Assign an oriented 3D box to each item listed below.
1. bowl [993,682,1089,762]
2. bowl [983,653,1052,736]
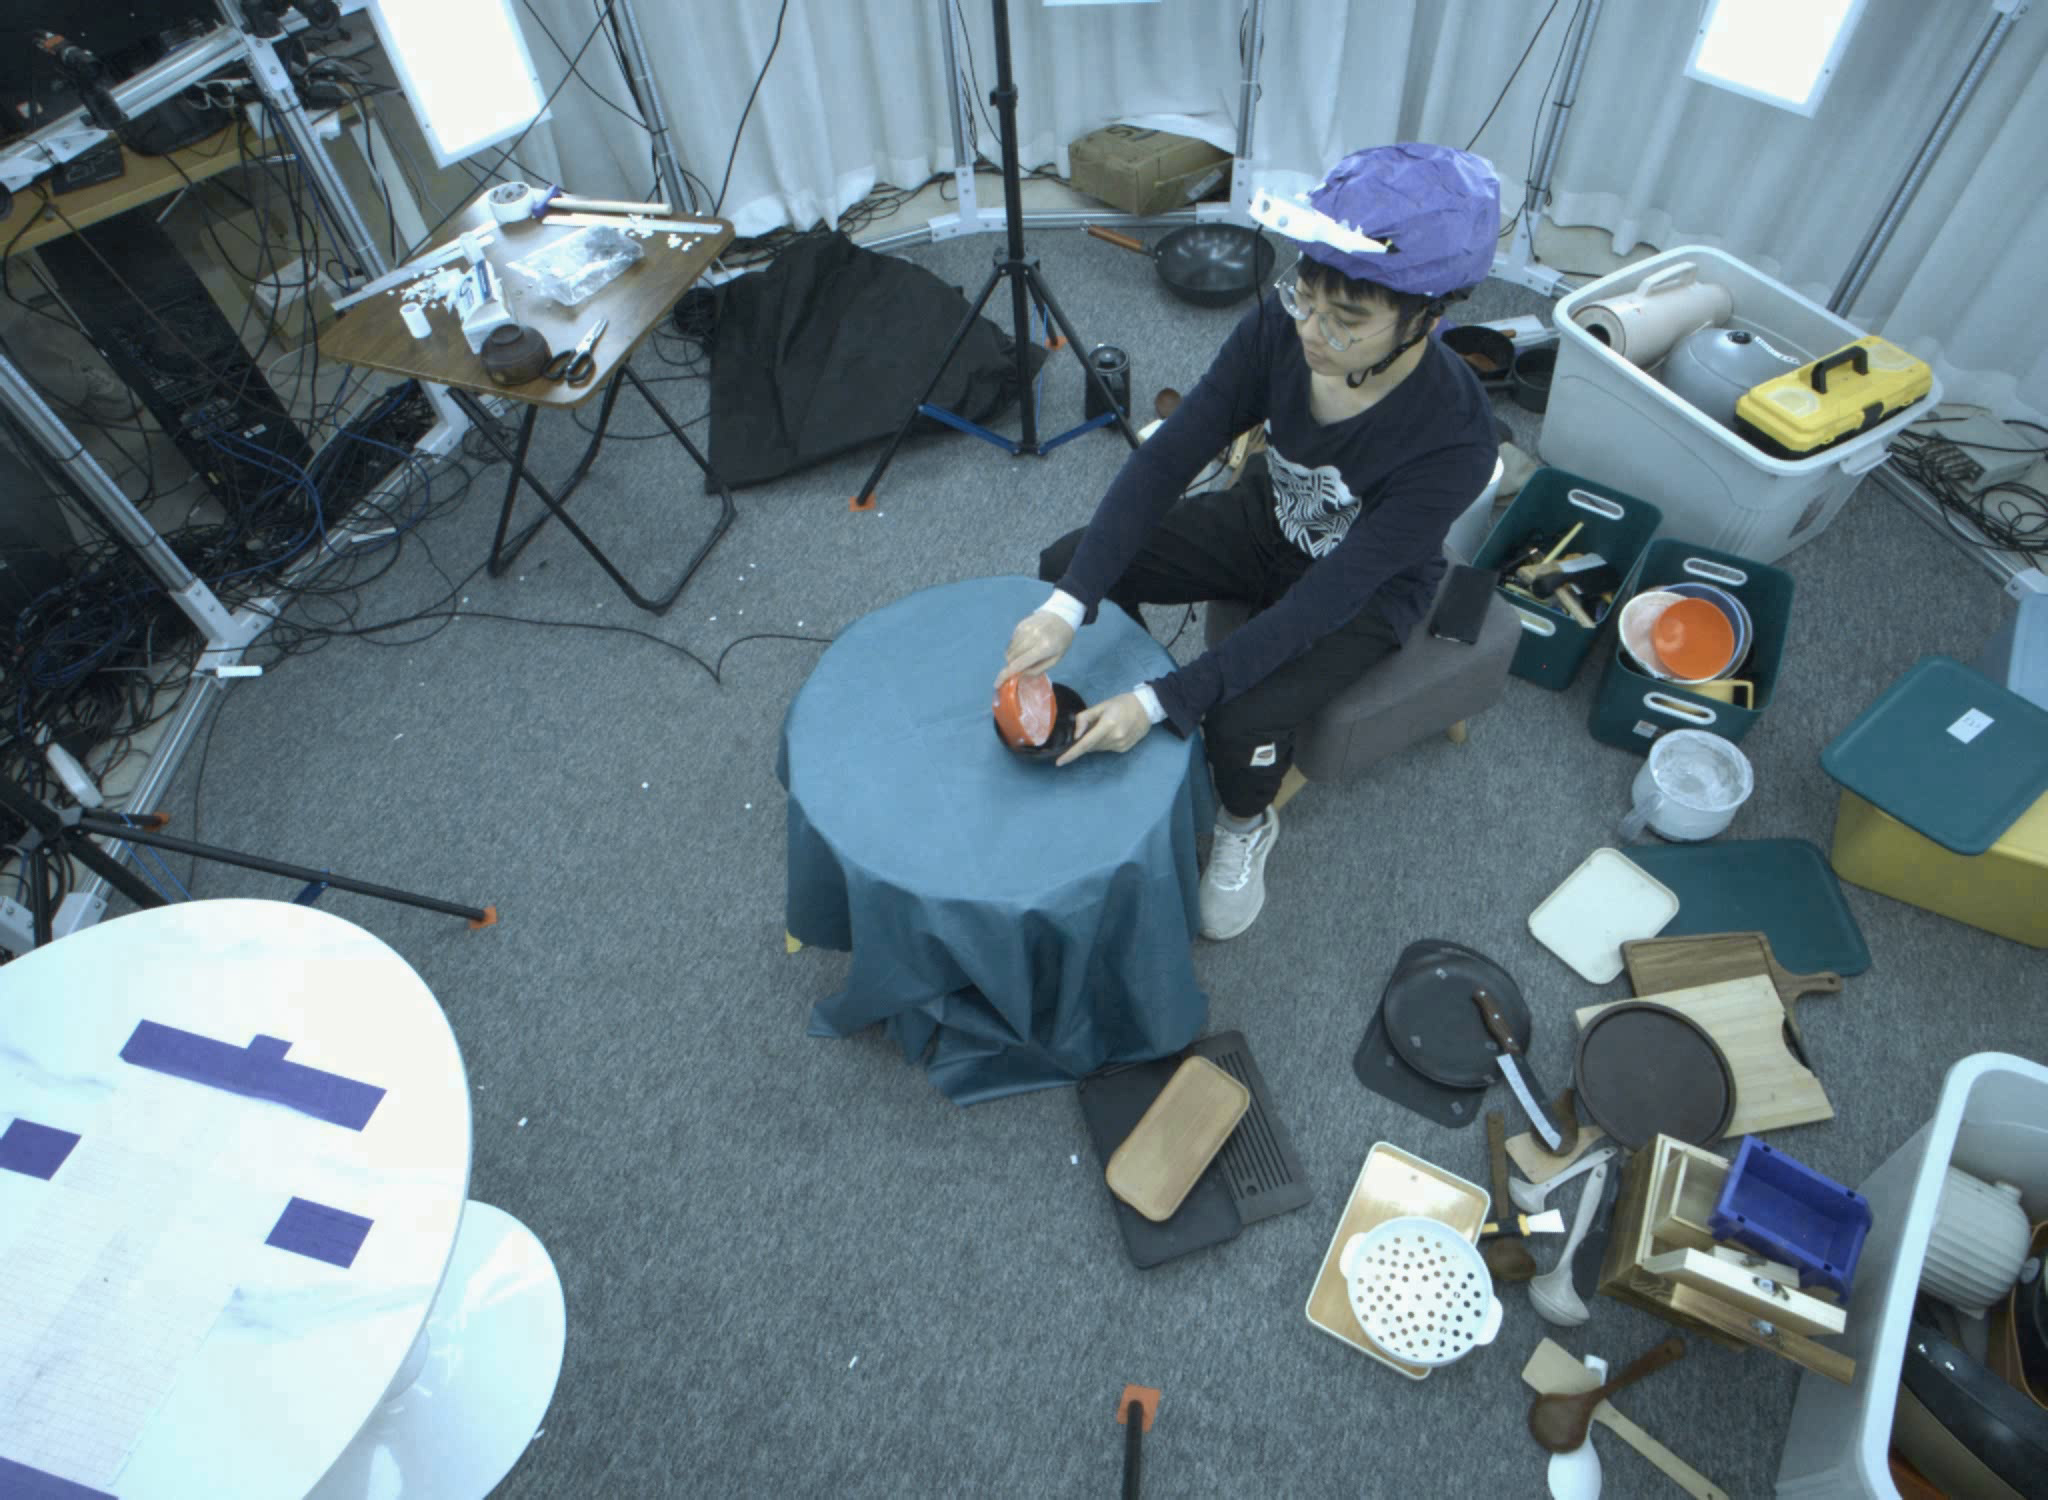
[{"bbox_3d":[0.025,-0.032,1.790,0.140,0.050,0.138,2,53,-2],"label":"bowl"},{"bbox_3d":[-0.015,-0.076,1.754,0.050,0.121,0.118,-6,48,36],"label":"bowl"}]
